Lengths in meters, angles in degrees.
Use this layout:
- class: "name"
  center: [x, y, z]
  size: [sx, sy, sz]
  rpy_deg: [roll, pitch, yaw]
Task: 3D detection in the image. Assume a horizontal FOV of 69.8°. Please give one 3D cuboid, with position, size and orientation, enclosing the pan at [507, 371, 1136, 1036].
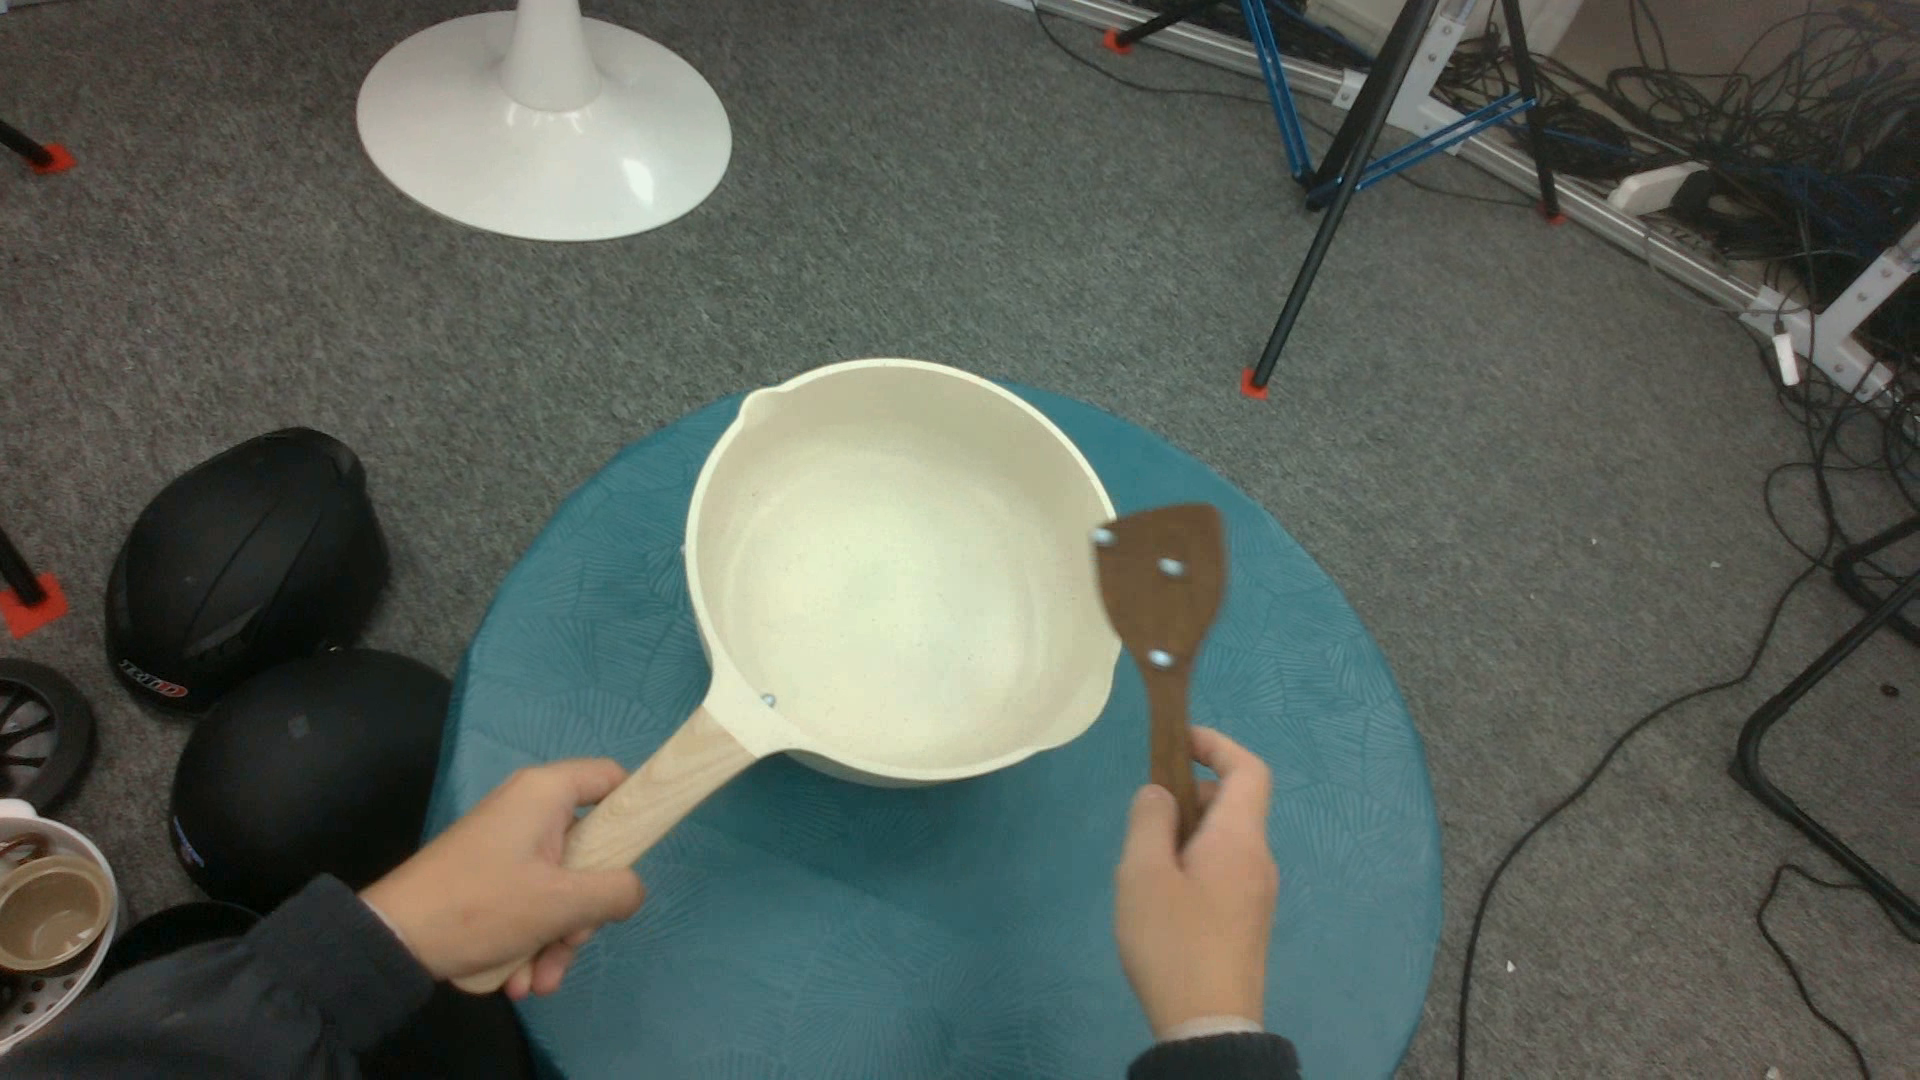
- class: "pan"
  center: [-0.079, 0.088, 0.749]
  size: [0.263, 0.101, 0.437]
  rpy_deg: [40, 61, 4]

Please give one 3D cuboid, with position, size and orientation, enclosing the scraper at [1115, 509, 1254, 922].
- class: "scraper"
  center: [0.118, 0.084, 0.694]
  size: [0.075, 0.011, 0.212]
  rpy_deg: [-12, 62, 23]
